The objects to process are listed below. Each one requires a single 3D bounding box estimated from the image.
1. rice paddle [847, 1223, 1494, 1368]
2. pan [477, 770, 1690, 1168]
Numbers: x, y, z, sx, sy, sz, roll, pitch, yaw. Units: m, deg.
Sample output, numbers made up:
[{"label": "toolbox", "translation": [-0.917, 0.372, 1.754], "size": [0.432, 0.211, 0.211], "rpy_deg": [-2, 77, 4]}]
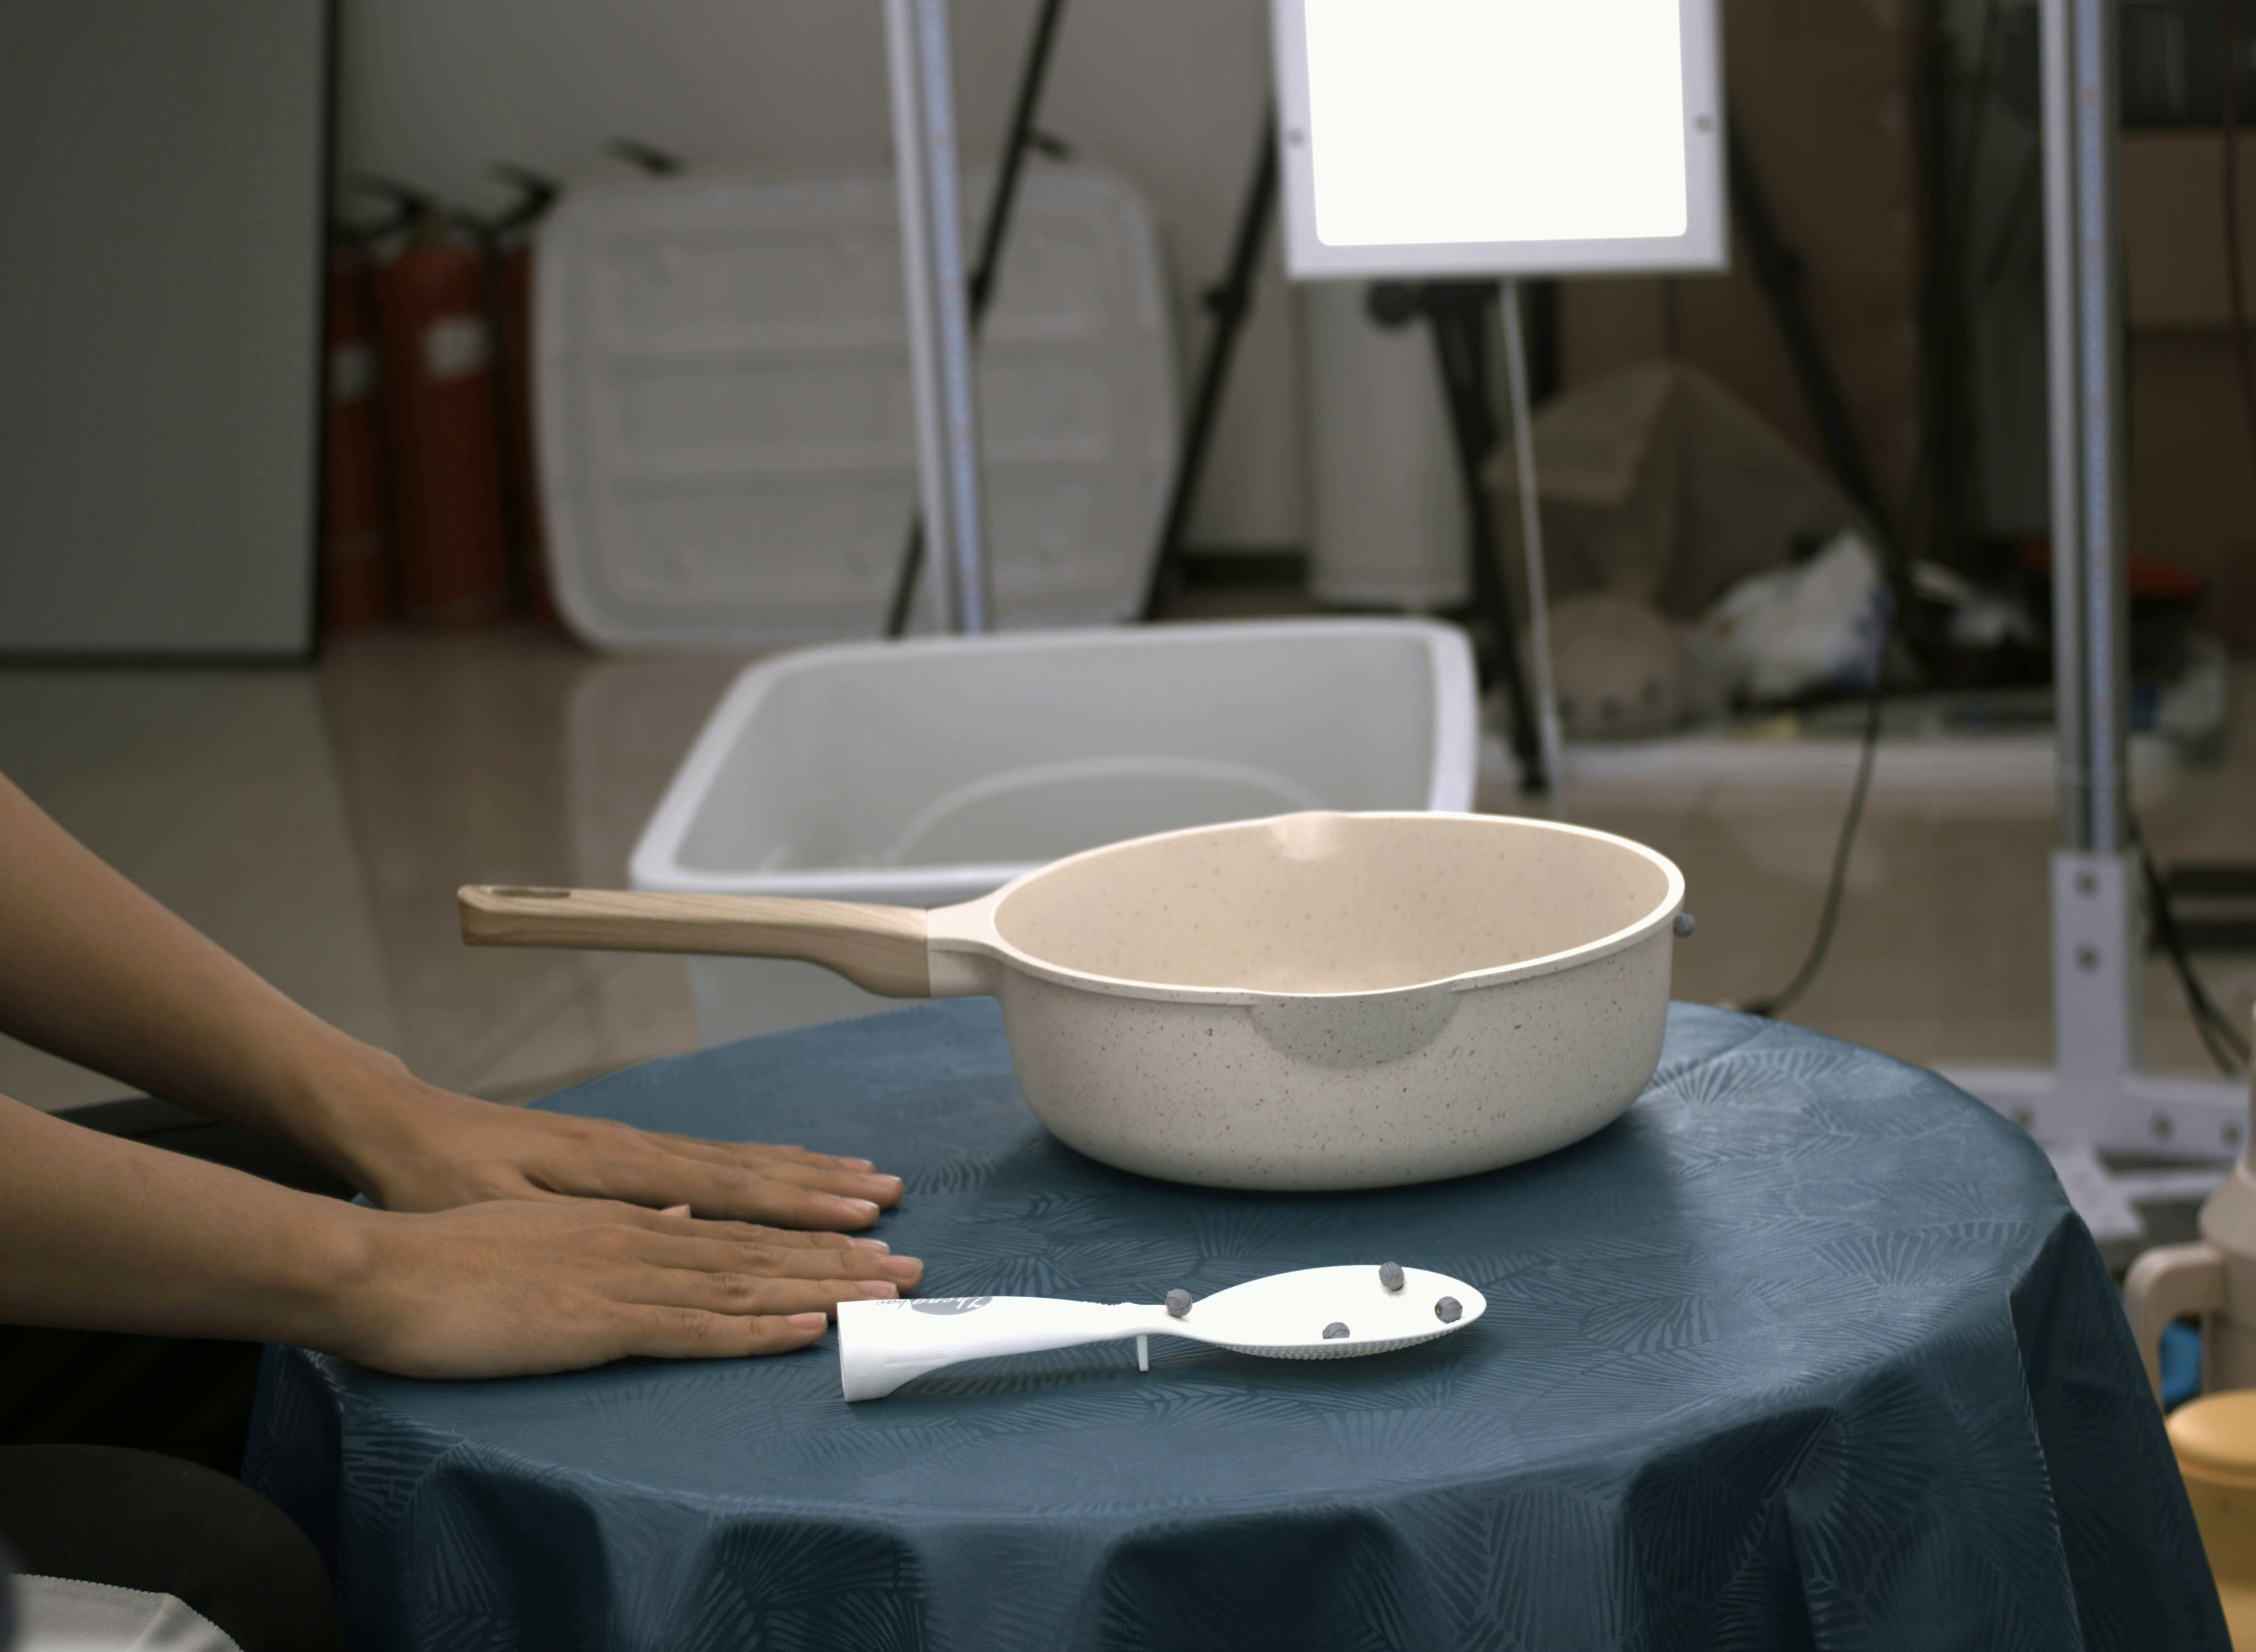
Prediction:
[{"label": "rice paddle", "translation": [0.015, 0.143, 1.729], "size": [0.204, 0.029, 0.069], "rpy_deg": [-6, 16, -3]}, {"label": "pan", "translation": [-0.012, 0.054, 1.980], "size": [0.434, 0.102, 0.263], "rpy_deg": [-5, 16, 1]}]
